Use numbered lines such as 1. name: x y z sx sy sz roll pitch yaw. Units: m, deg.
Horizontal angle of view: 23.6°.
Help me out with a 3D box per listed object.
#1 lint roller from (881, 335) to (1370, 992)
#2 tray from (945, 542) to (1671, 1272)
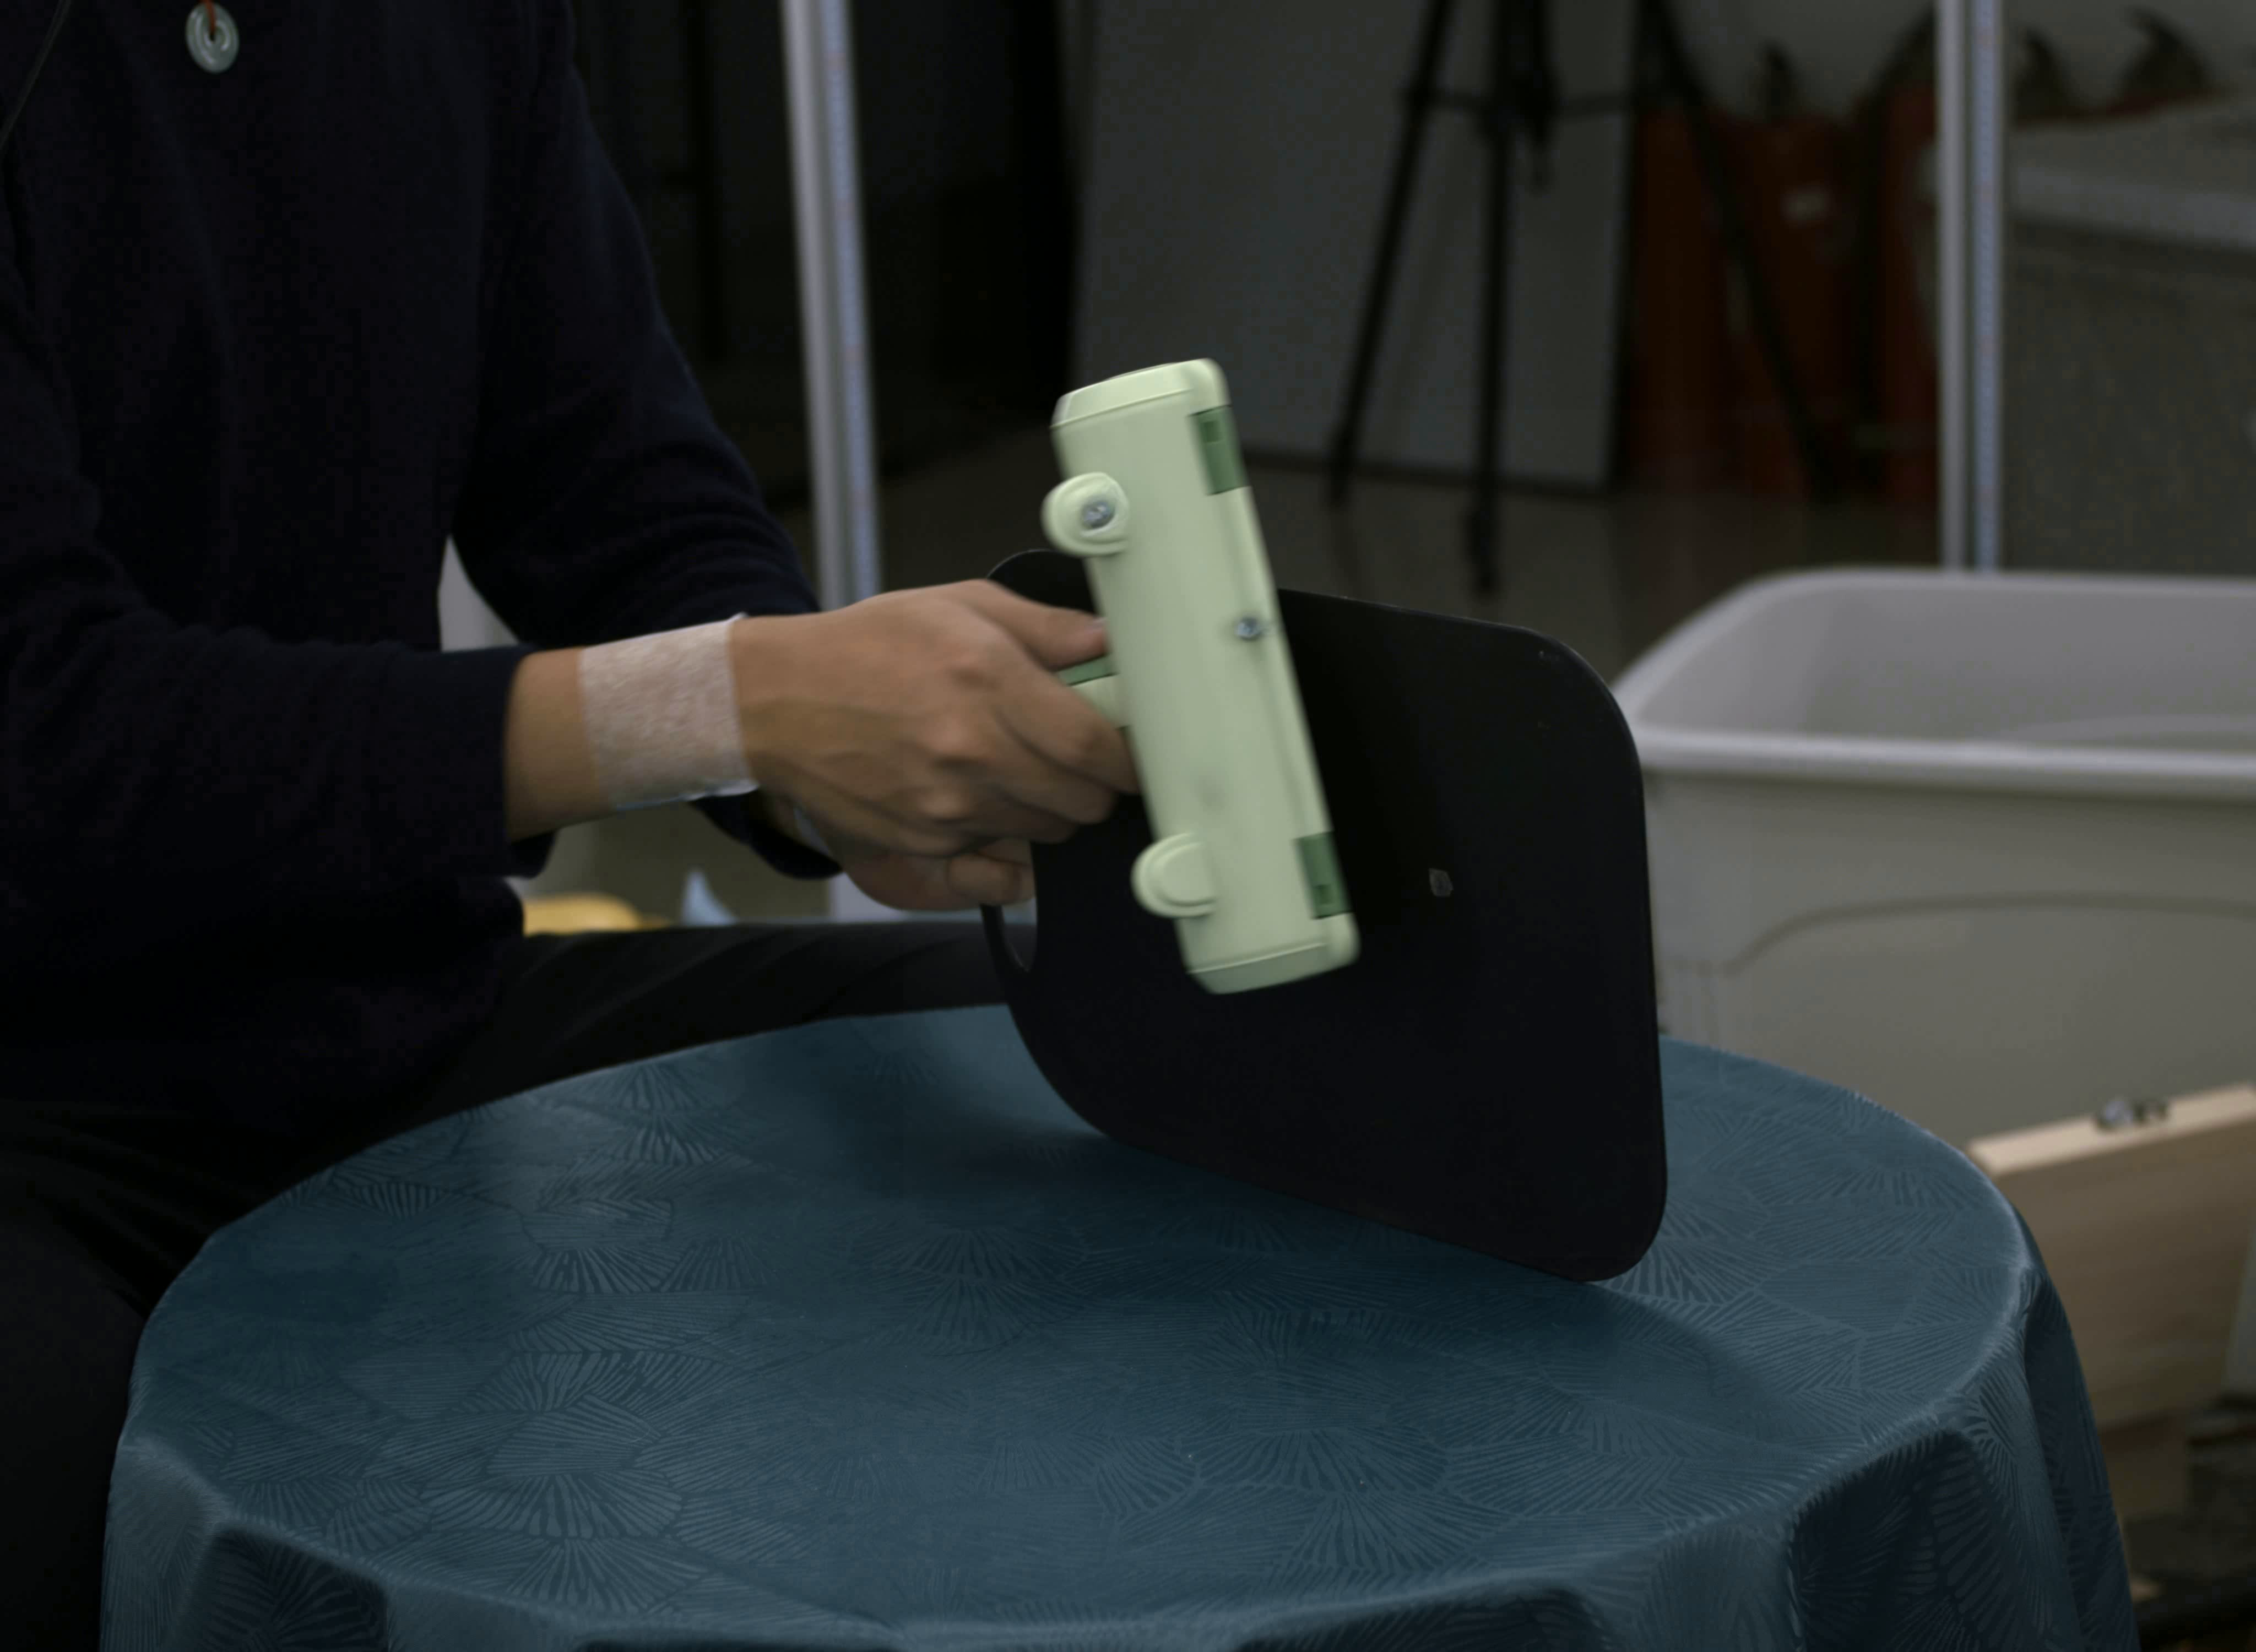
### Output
1. lint roller: -0.020 -0.037 1.695 0.184 0.201 0.081 -14 -1 33
2. tray: 0.049 0.020 1.719 0.009 0.213 0.328 -18 18 -39
